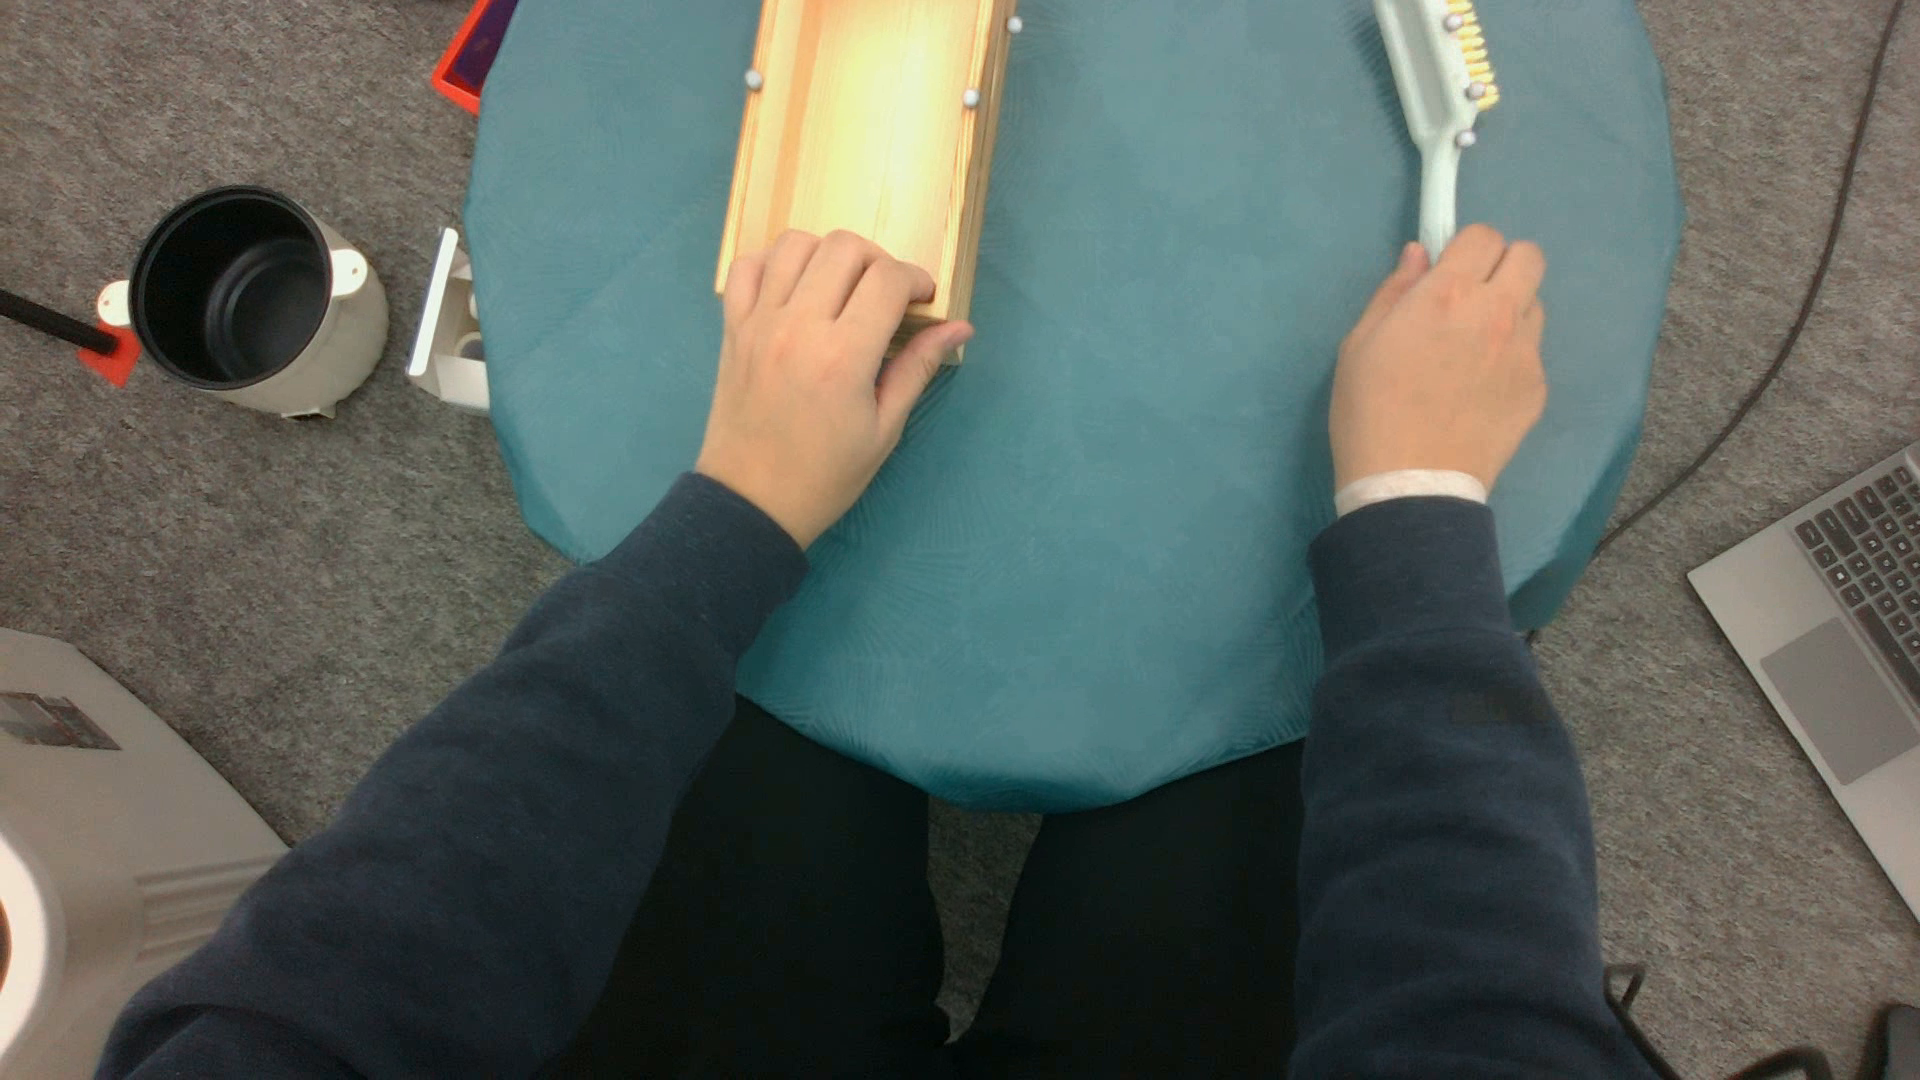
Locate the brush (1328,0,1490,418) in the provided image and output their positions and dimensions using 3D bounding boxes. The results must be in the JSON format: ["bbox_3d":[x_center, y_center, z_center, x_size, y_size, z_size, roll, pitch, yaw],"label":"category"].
[{"bbox_3d":[0.223,-0.170,0.660,0.050,0.037,0.229,-2,77,-37],"label":"brush"}]

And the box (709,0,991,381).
[{"bbox_3d":[-0.049,-0.192,0.673,0.107,0.080,0.211,4,81,7],"label":"box"}]
